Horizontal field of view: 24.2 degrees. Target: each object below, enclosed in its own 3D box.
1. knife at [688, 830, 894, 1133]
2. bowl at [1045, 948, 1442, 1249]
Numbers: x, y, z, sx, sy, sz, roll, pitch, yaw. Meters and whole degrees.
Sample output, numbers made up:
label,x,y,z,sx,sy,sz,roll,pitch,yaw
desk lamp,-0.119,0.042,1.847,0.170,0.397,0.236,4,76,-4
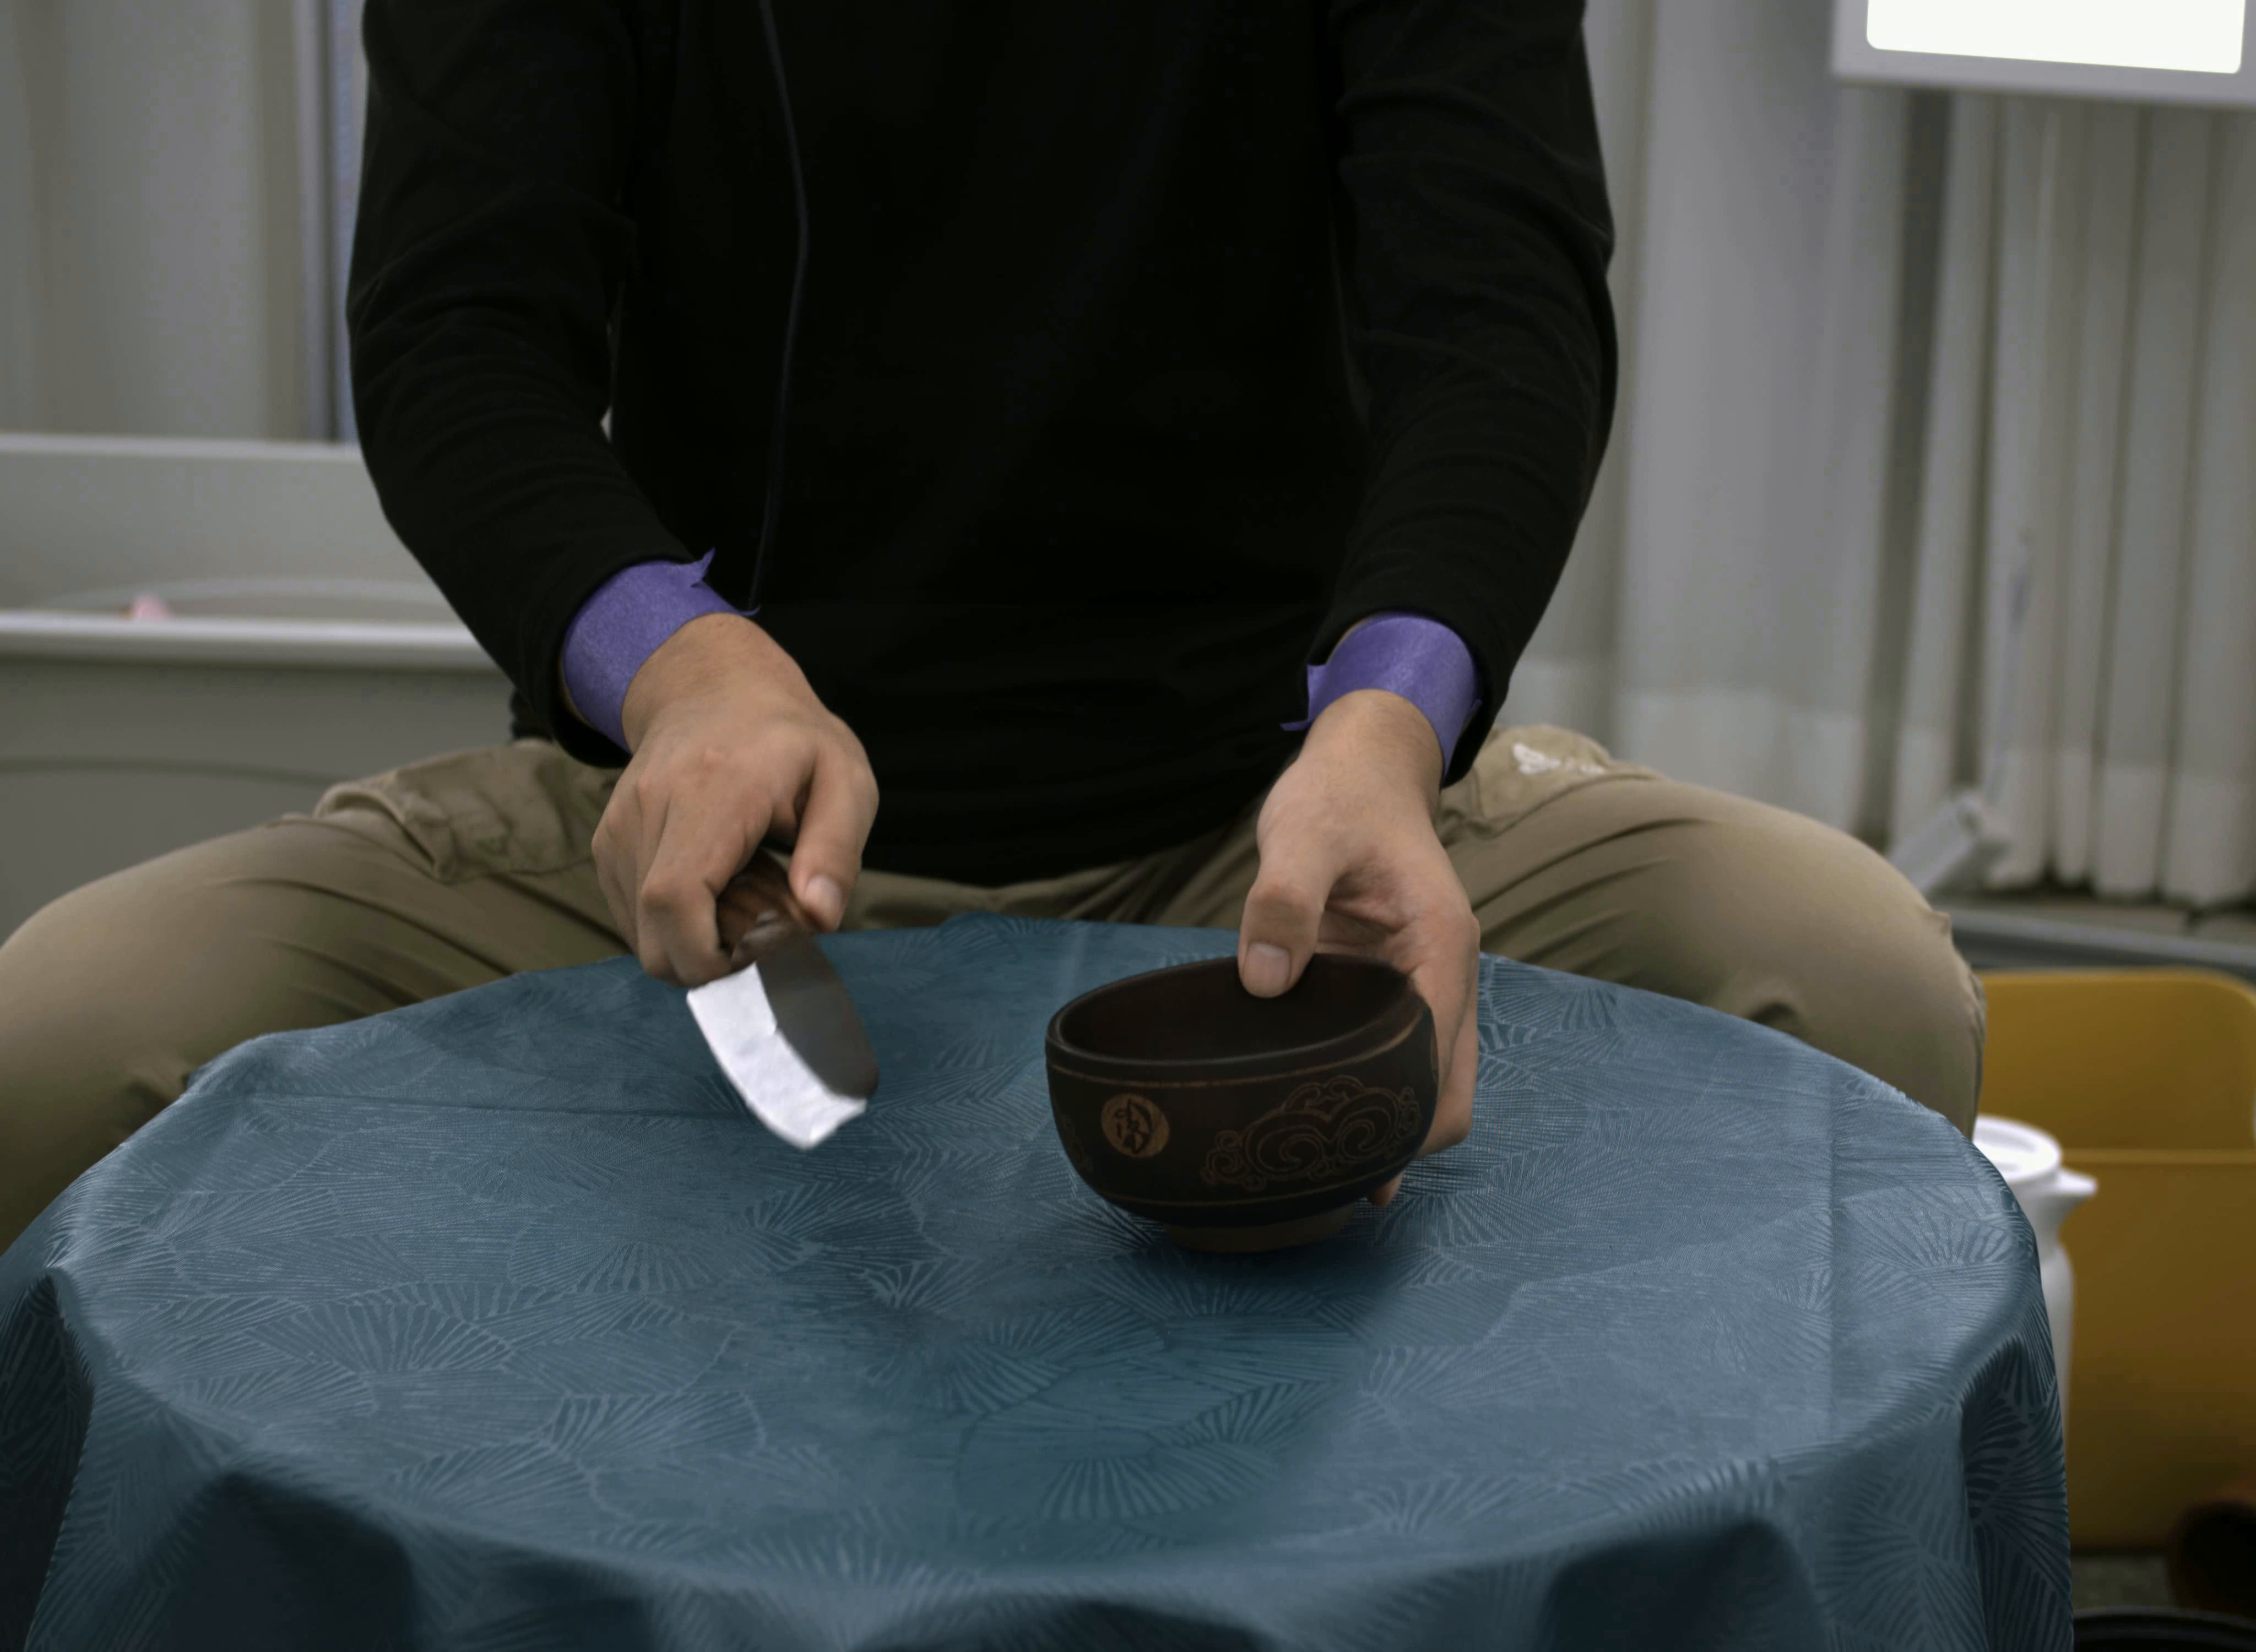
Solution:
label,x,y,z,sx,sy,sz,roll,pitch,yaw
knife,-0.106,0.046,1.587,0.050,0.020,0.286,-21,17,-4
bowl,0.037,0.085,1.577,0.117,0.070,0.117,-7,13,2
